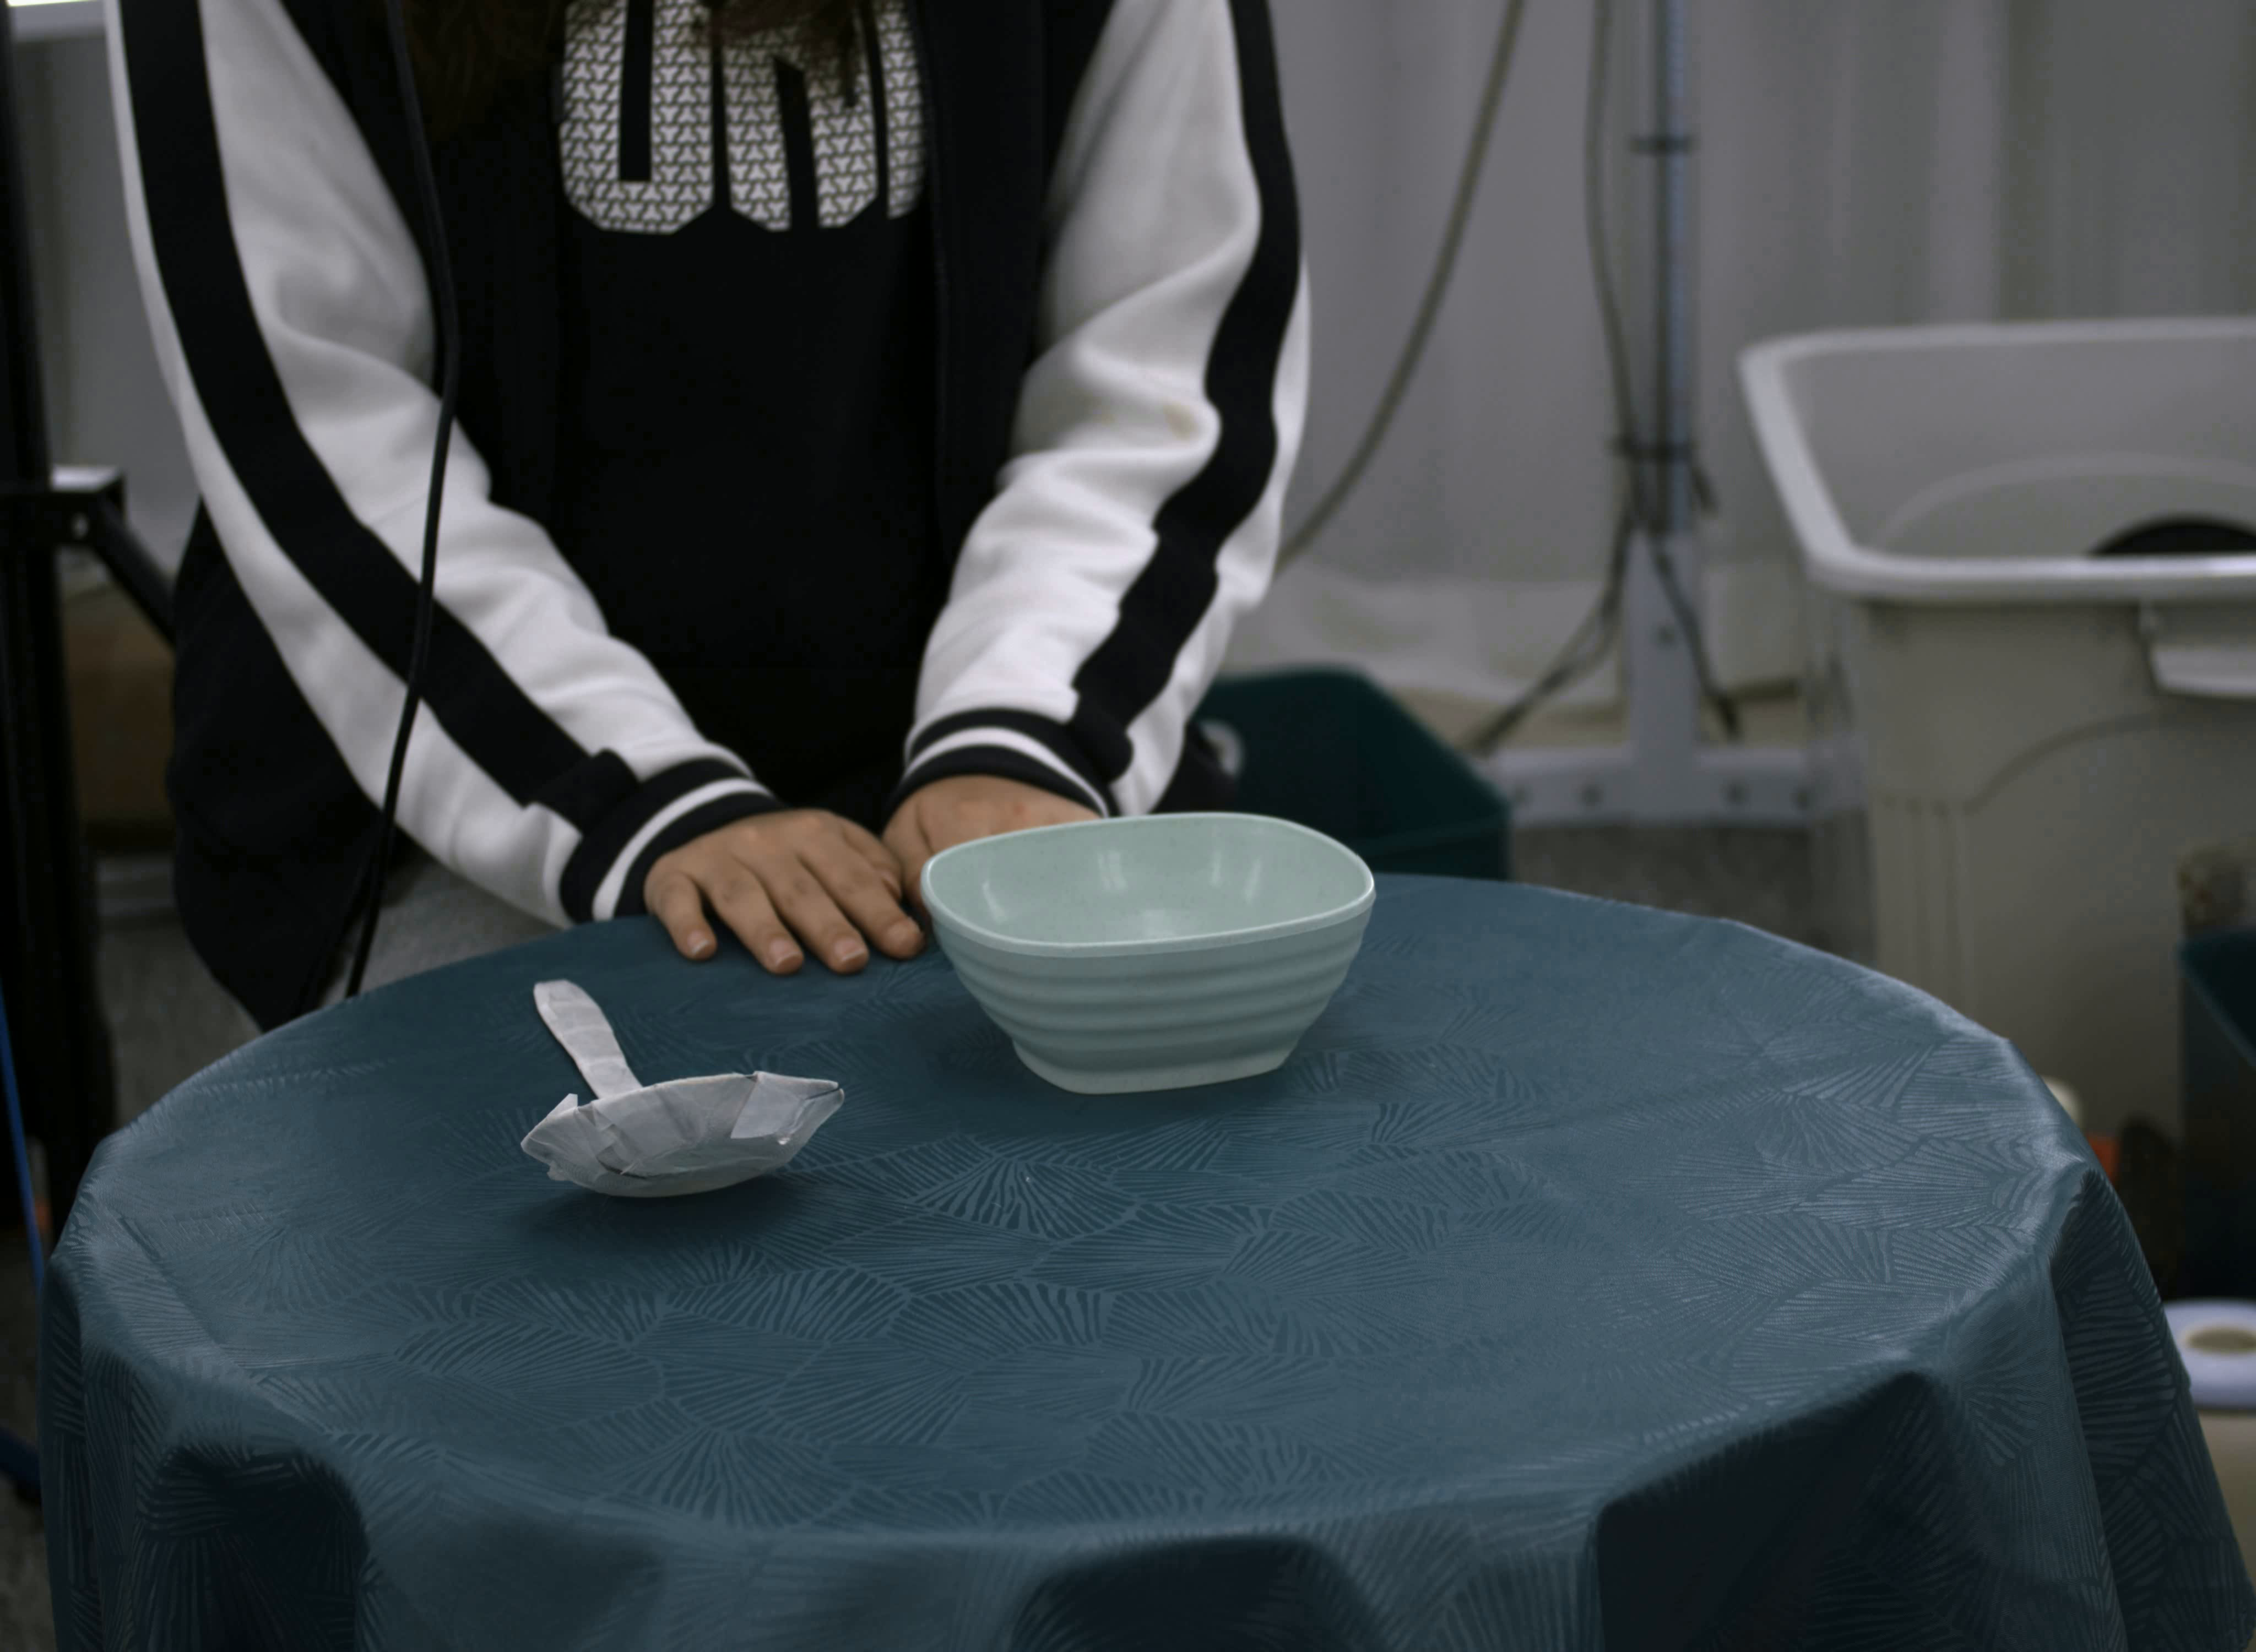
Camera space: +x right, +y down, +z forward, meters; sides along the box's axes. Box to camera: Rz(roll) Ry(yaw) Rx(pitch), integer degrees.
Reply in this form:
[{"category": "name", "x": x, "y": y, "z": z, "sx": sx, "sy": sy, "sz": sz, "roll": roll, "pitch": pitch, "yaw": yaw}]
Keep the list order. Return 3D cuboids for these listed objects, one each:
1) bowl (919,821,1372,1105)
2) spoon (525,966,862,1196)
[{"category": "bowl", "x": 0.006, "y": 0.046, "z": 1.682, "sx": 0.150, "sy": 0.058, "sz": 0.152, "roll": -2, "pitch": 16, "yaw": -1}, {"category": "spoon", "x": -0.146, "y": 0.061, "z": 1.646, "sx": 0.099, "sy": 0.059, "sz": 0.281, "roll": 0, "pitch": 15, "yaw": -12}]
